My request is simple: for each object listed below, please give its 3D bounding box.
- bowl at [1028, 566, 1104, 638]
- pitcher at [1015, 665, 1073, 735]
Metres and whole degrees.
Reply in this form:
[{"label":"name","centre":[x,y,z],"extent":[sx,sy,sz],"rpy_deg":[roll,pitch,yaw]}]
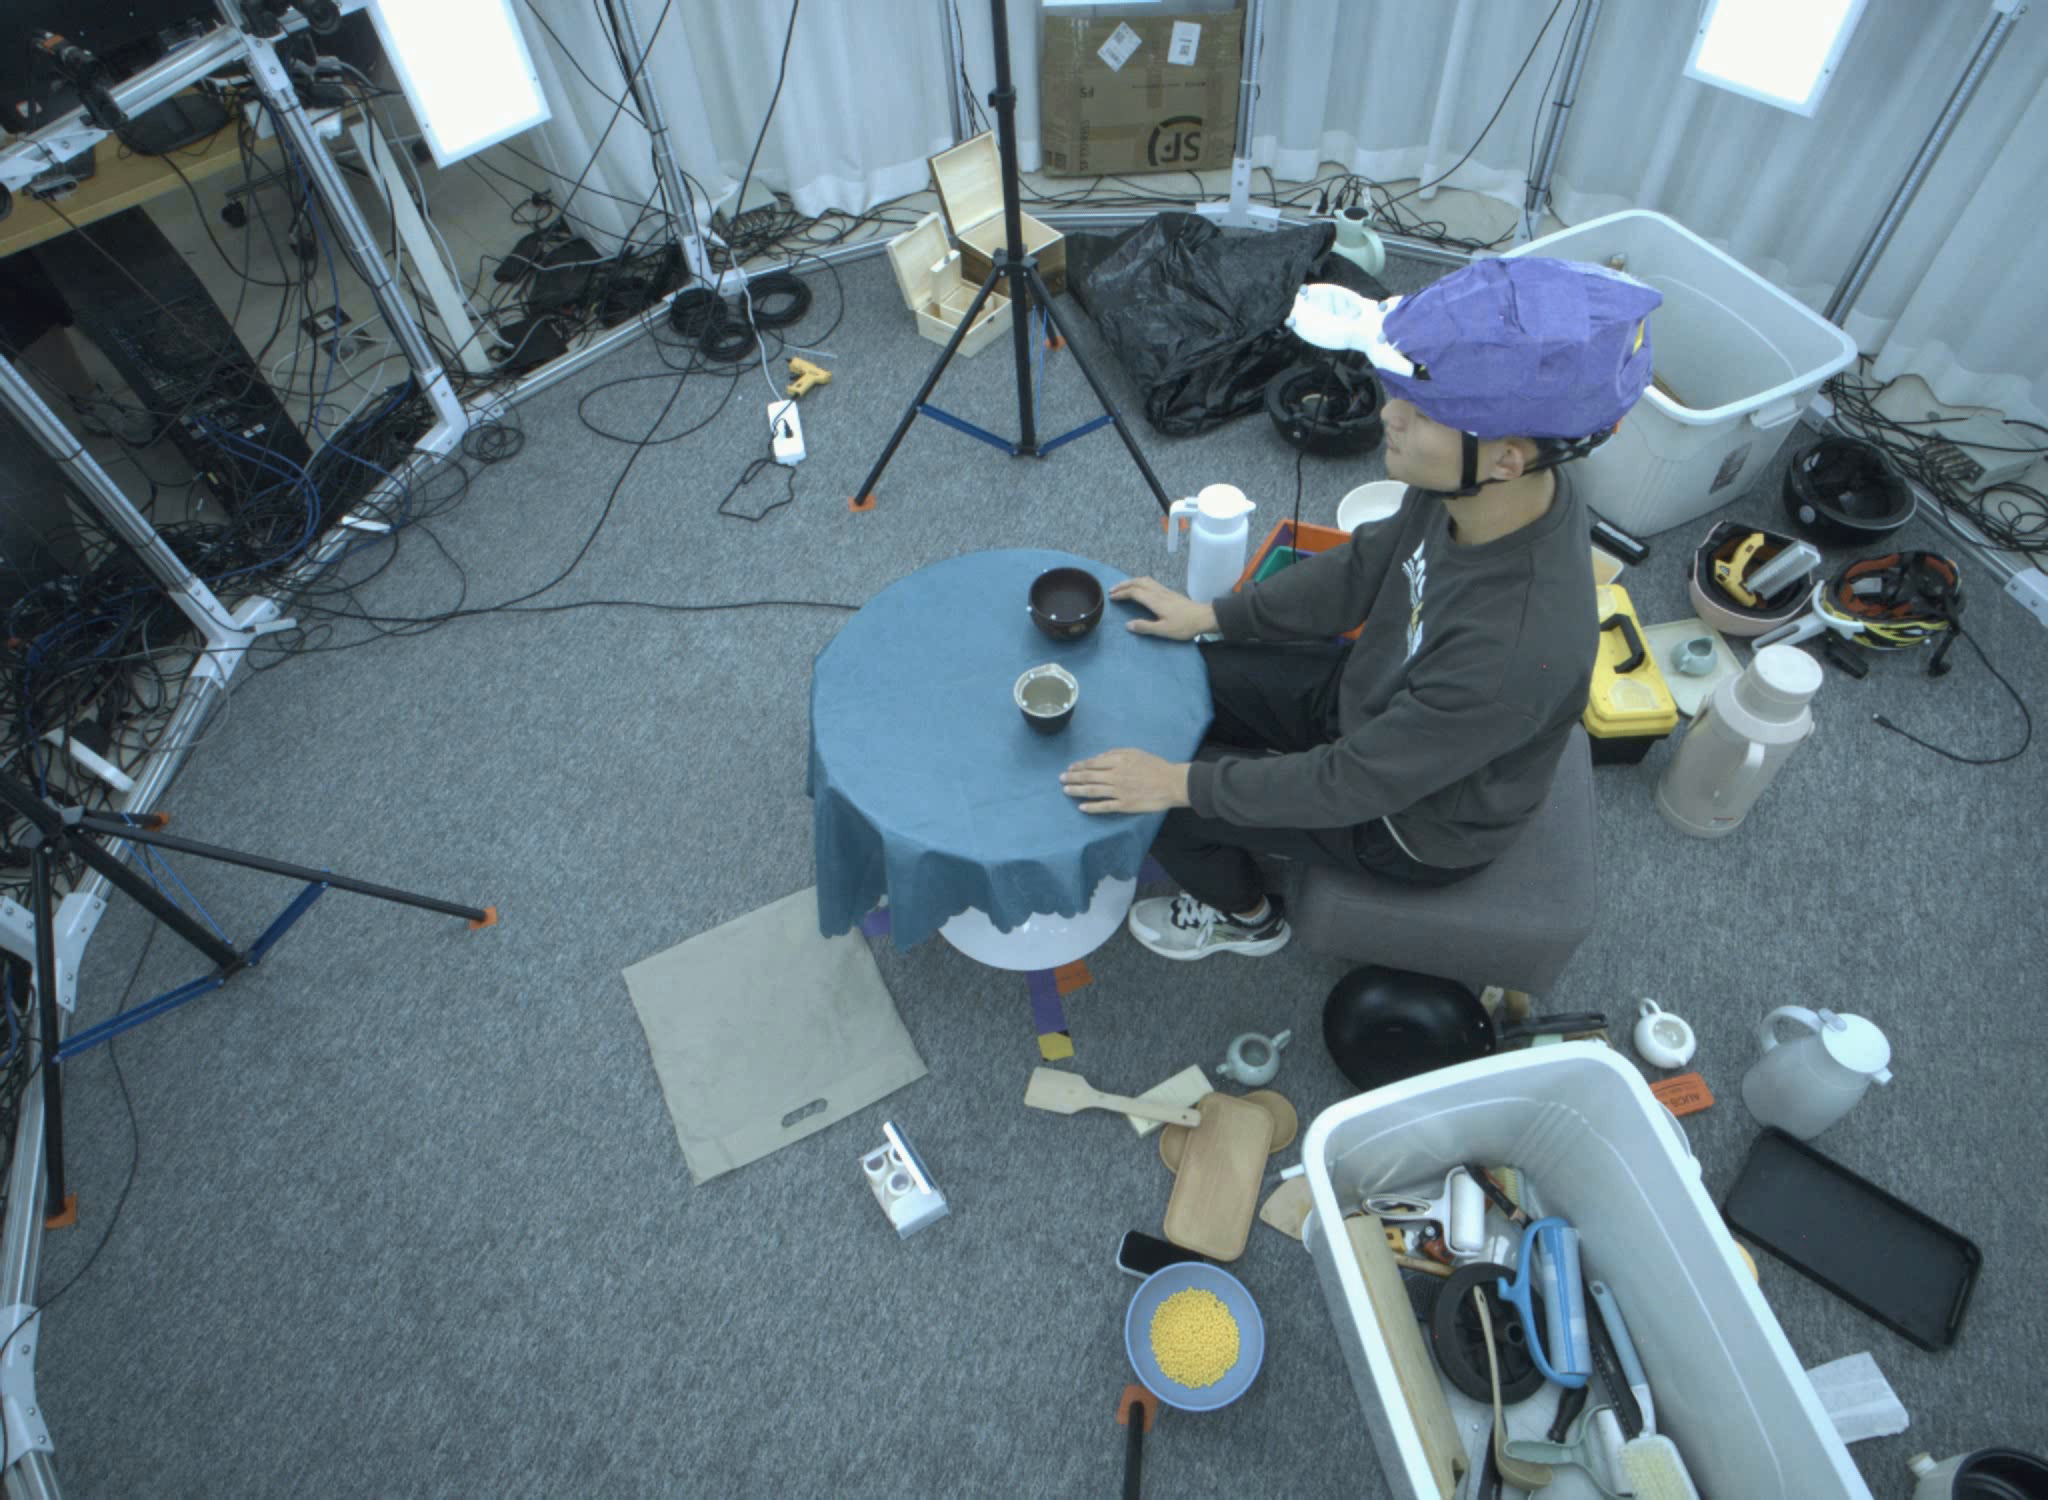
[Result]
[{"label":"bowl","centre":[0.064,-0.220,1.895],"extent":[0.118,0.070,0.117],"rpy_deg":[0,55,1]},{"label":"pitcher","centre":[0.033,-0.067,1.787],"extent":[0.083,0.072,0.096],"rpy_deg":[12,54,14]}]
